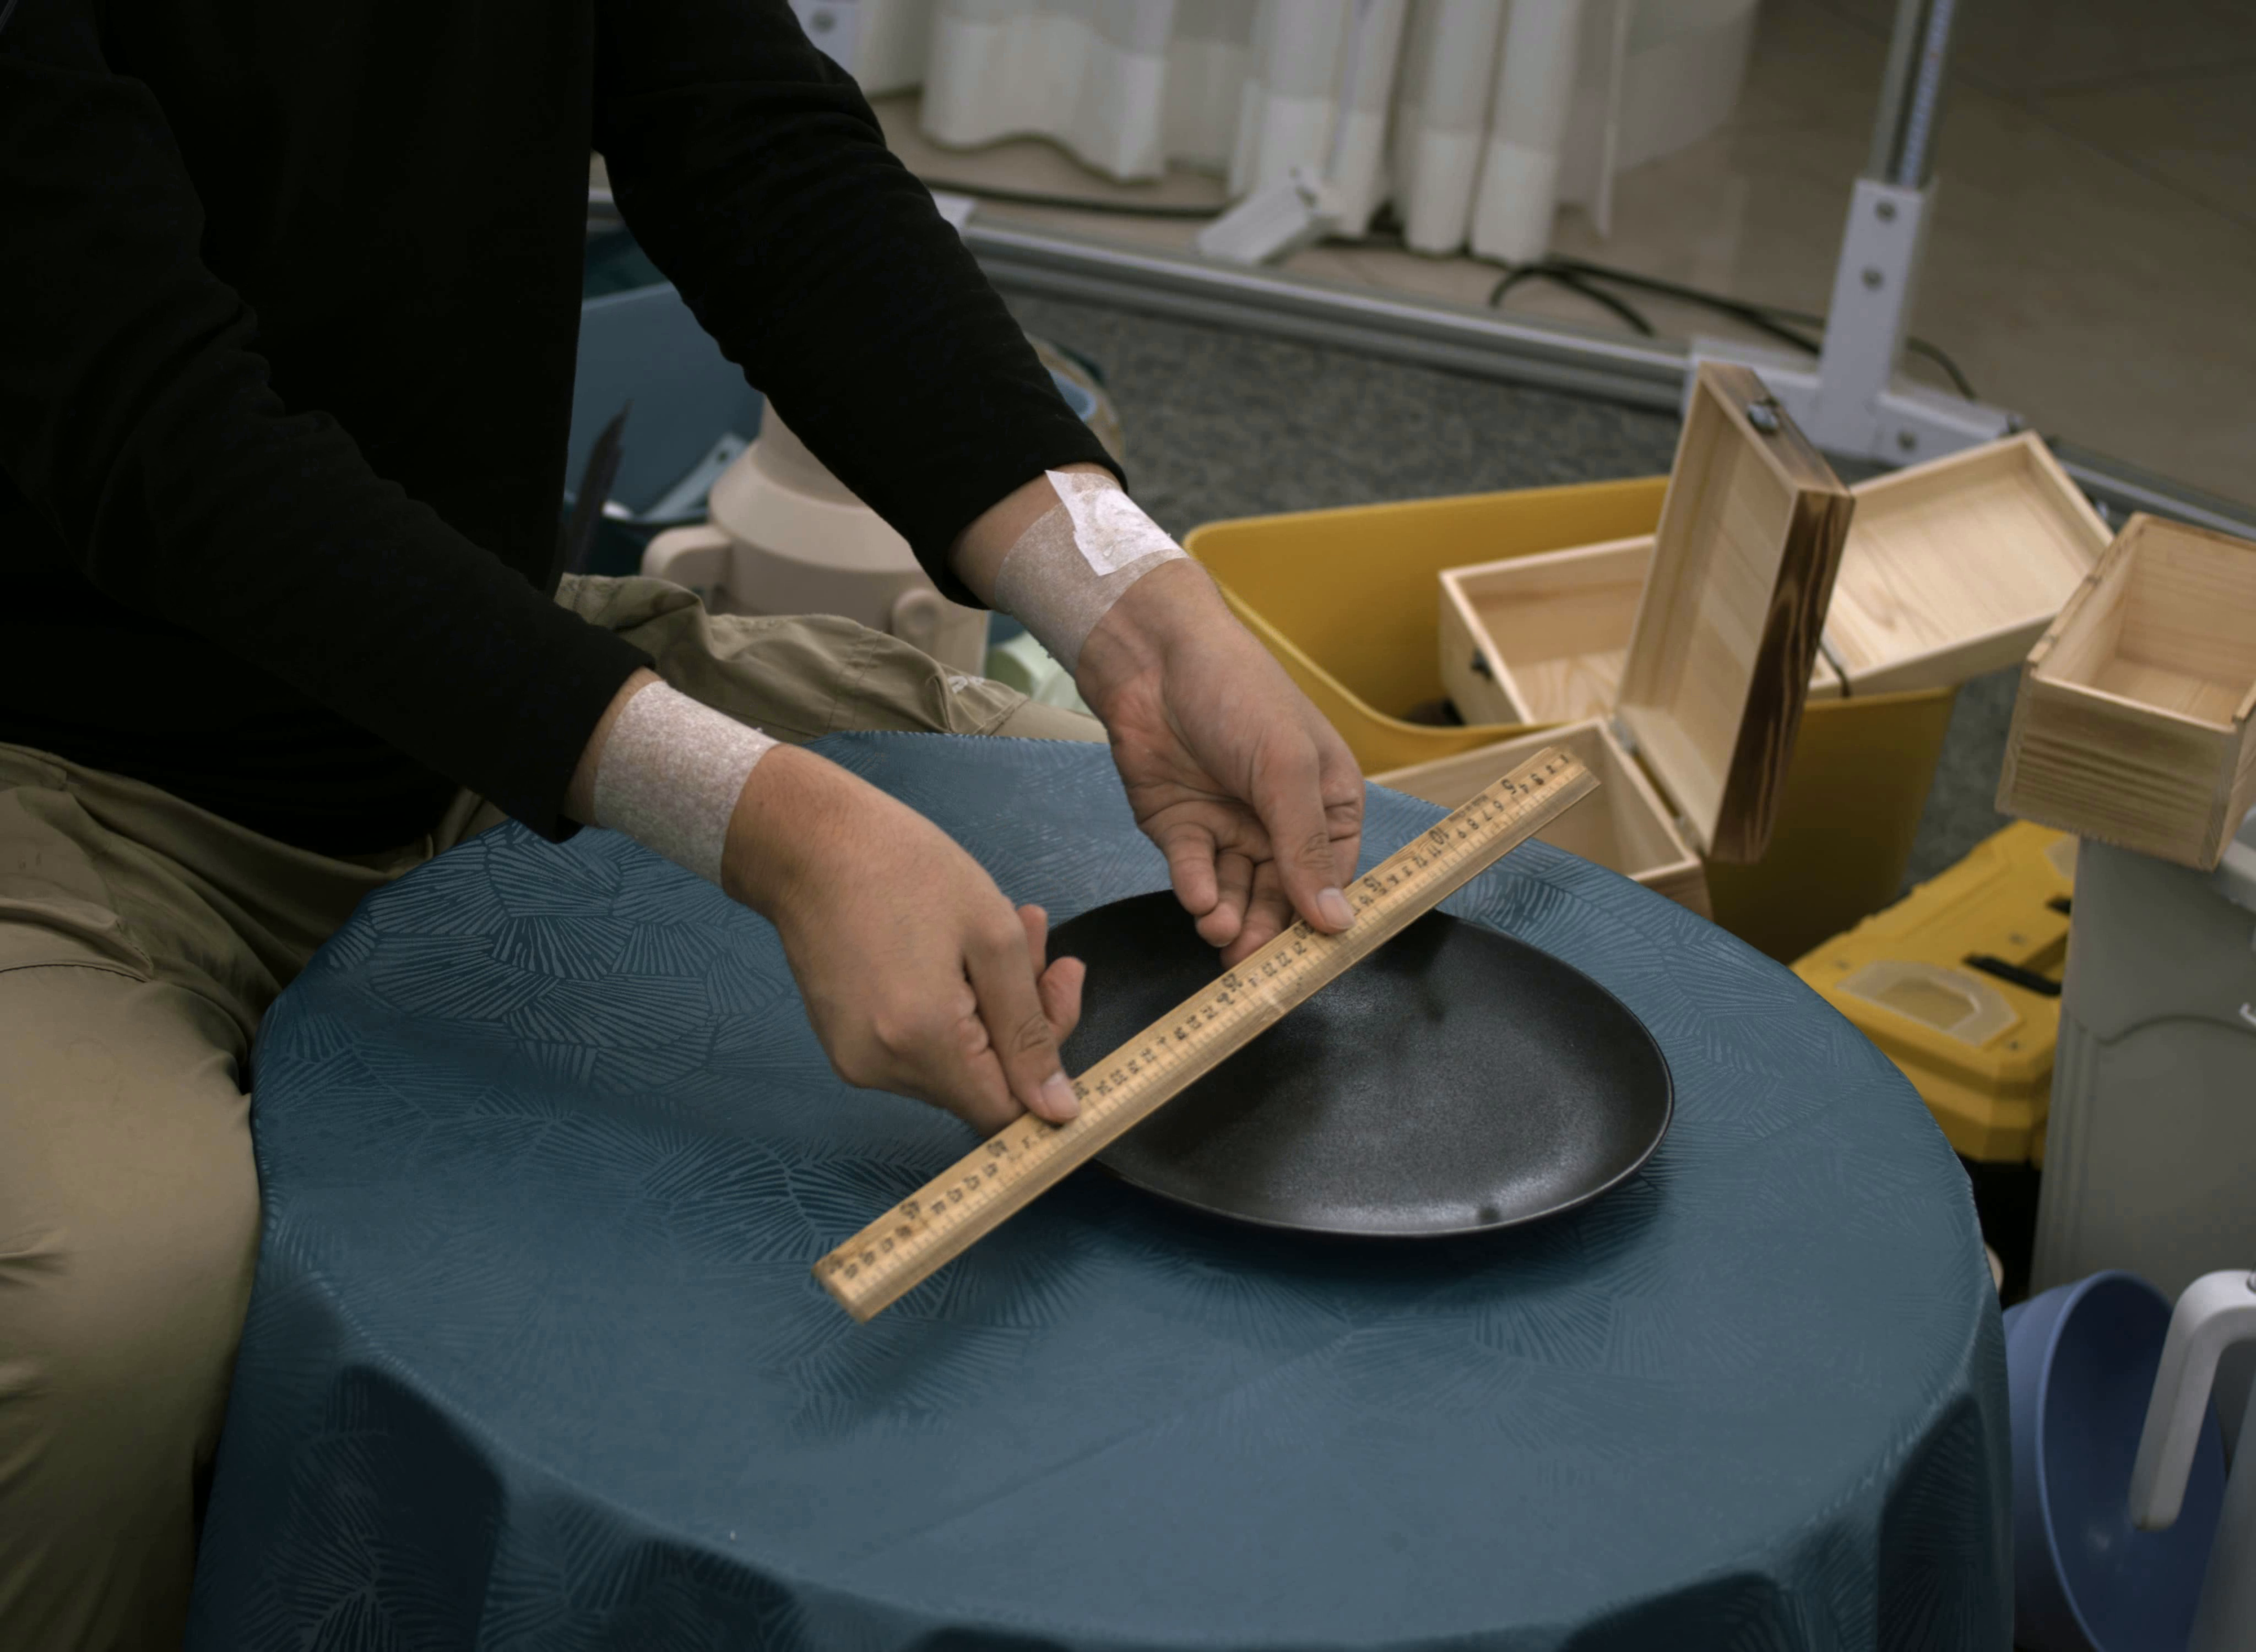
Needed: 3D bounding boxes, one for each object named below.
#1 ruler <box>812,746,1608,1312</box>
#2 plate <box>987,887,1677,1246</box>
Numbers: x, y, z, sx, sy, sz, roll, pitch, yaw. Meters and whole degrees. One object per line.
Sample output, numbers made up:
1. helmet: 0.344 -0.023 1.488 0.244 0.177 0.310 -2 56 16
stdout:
1. ruler: 0.042 0.060 1.856 0.027 0.006 0.499 45 38 11
2. plate: 0.070 0.087 1.862 0.243 0.023 0.246 5 27 -3
